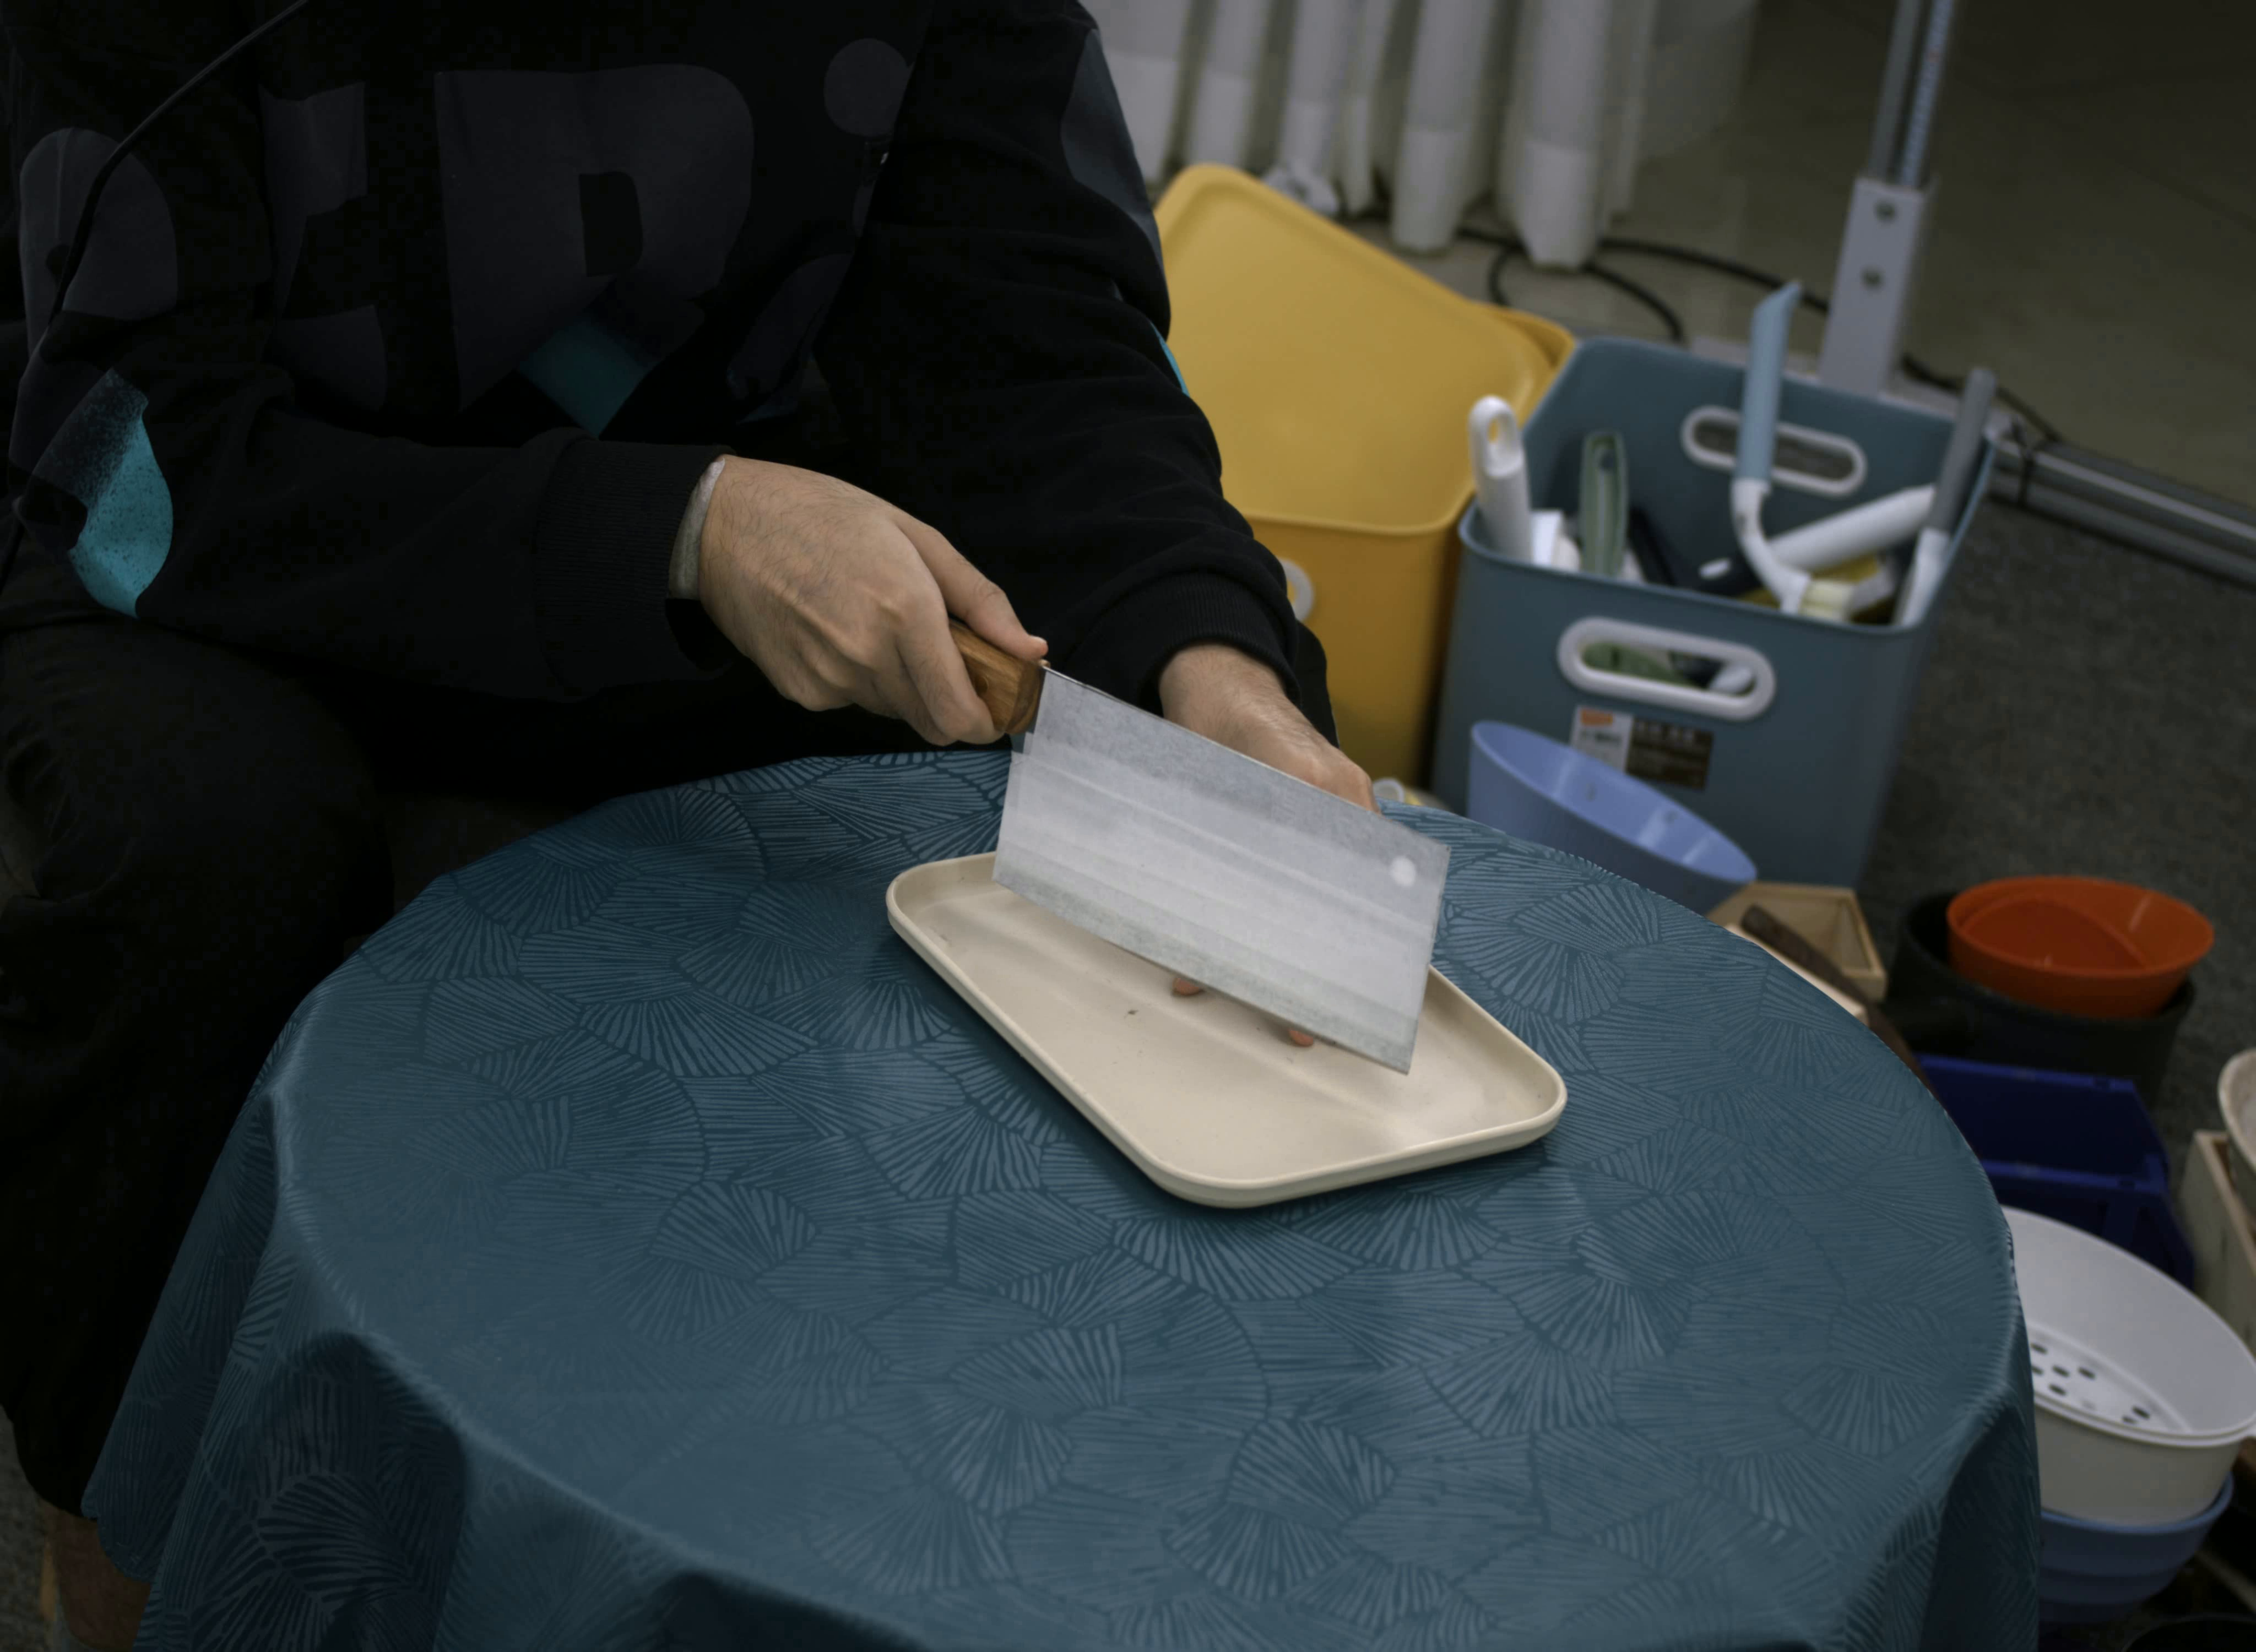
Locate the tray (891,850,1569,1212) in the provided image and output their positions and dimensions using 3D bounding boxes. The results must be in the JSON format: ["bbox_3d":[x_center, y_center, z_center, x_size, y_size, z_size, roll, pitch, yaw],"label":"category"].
[{"bbox_3d":[0.033,0.065,1.904,0.170,0.017,0.242,-11,32,-28],"label":"tray"}]

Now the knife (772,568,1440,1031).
[{"bbox_3d":[-0.014,-0.008,1.910,0.308,0.093,0.021,25,28,32],"label":"knife"}]
